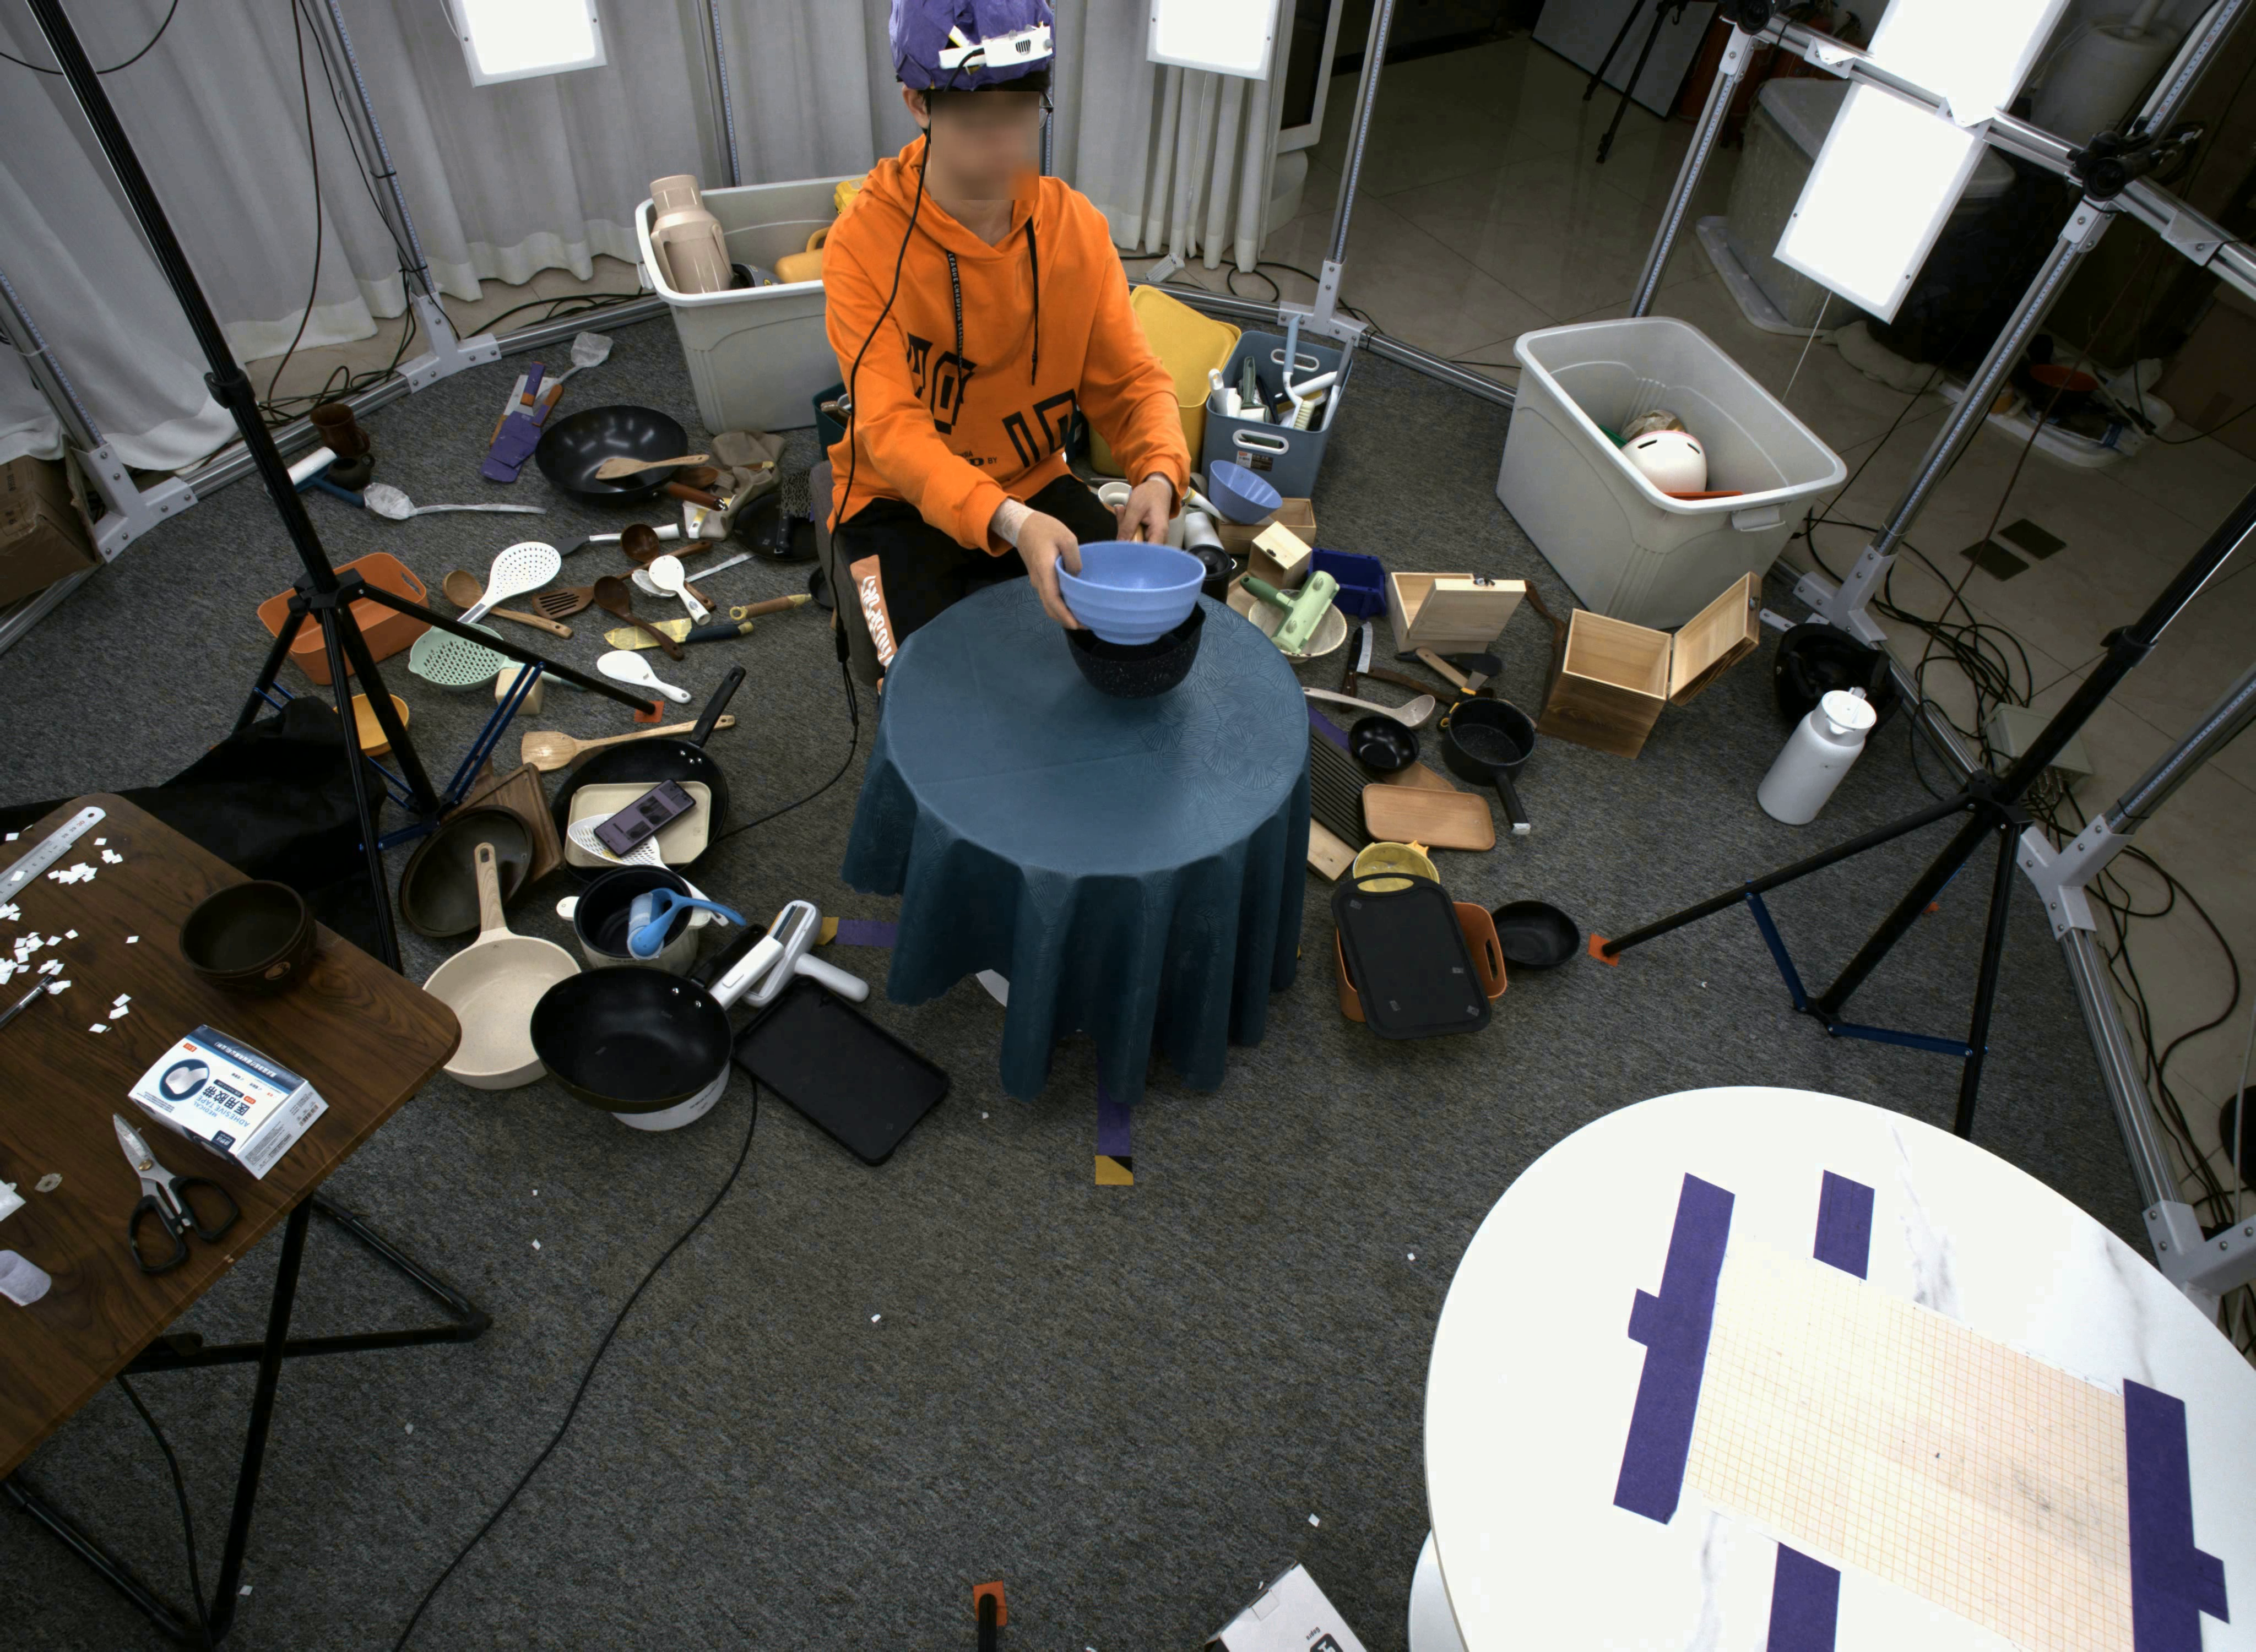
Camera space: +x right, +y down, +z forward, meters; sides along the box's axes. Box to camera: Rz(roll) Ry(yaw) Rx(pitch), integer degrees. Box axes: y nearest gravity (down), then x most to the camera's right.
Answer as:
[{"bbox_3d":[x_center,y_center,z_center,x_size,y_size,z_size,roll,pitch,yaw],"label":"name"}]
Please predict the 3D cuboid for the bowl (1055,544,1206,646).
[{"bbox_3d":[0.001,-0.297,1.689,0.196,0.093,0.200,3,28,-2],"label":"bowl"}]

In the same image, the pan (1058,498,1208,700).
[{"bbox_3d":[0.009,-0.323,1.824,0.207,0.105,0.351,-4,48,4],"label":"pan"}]
